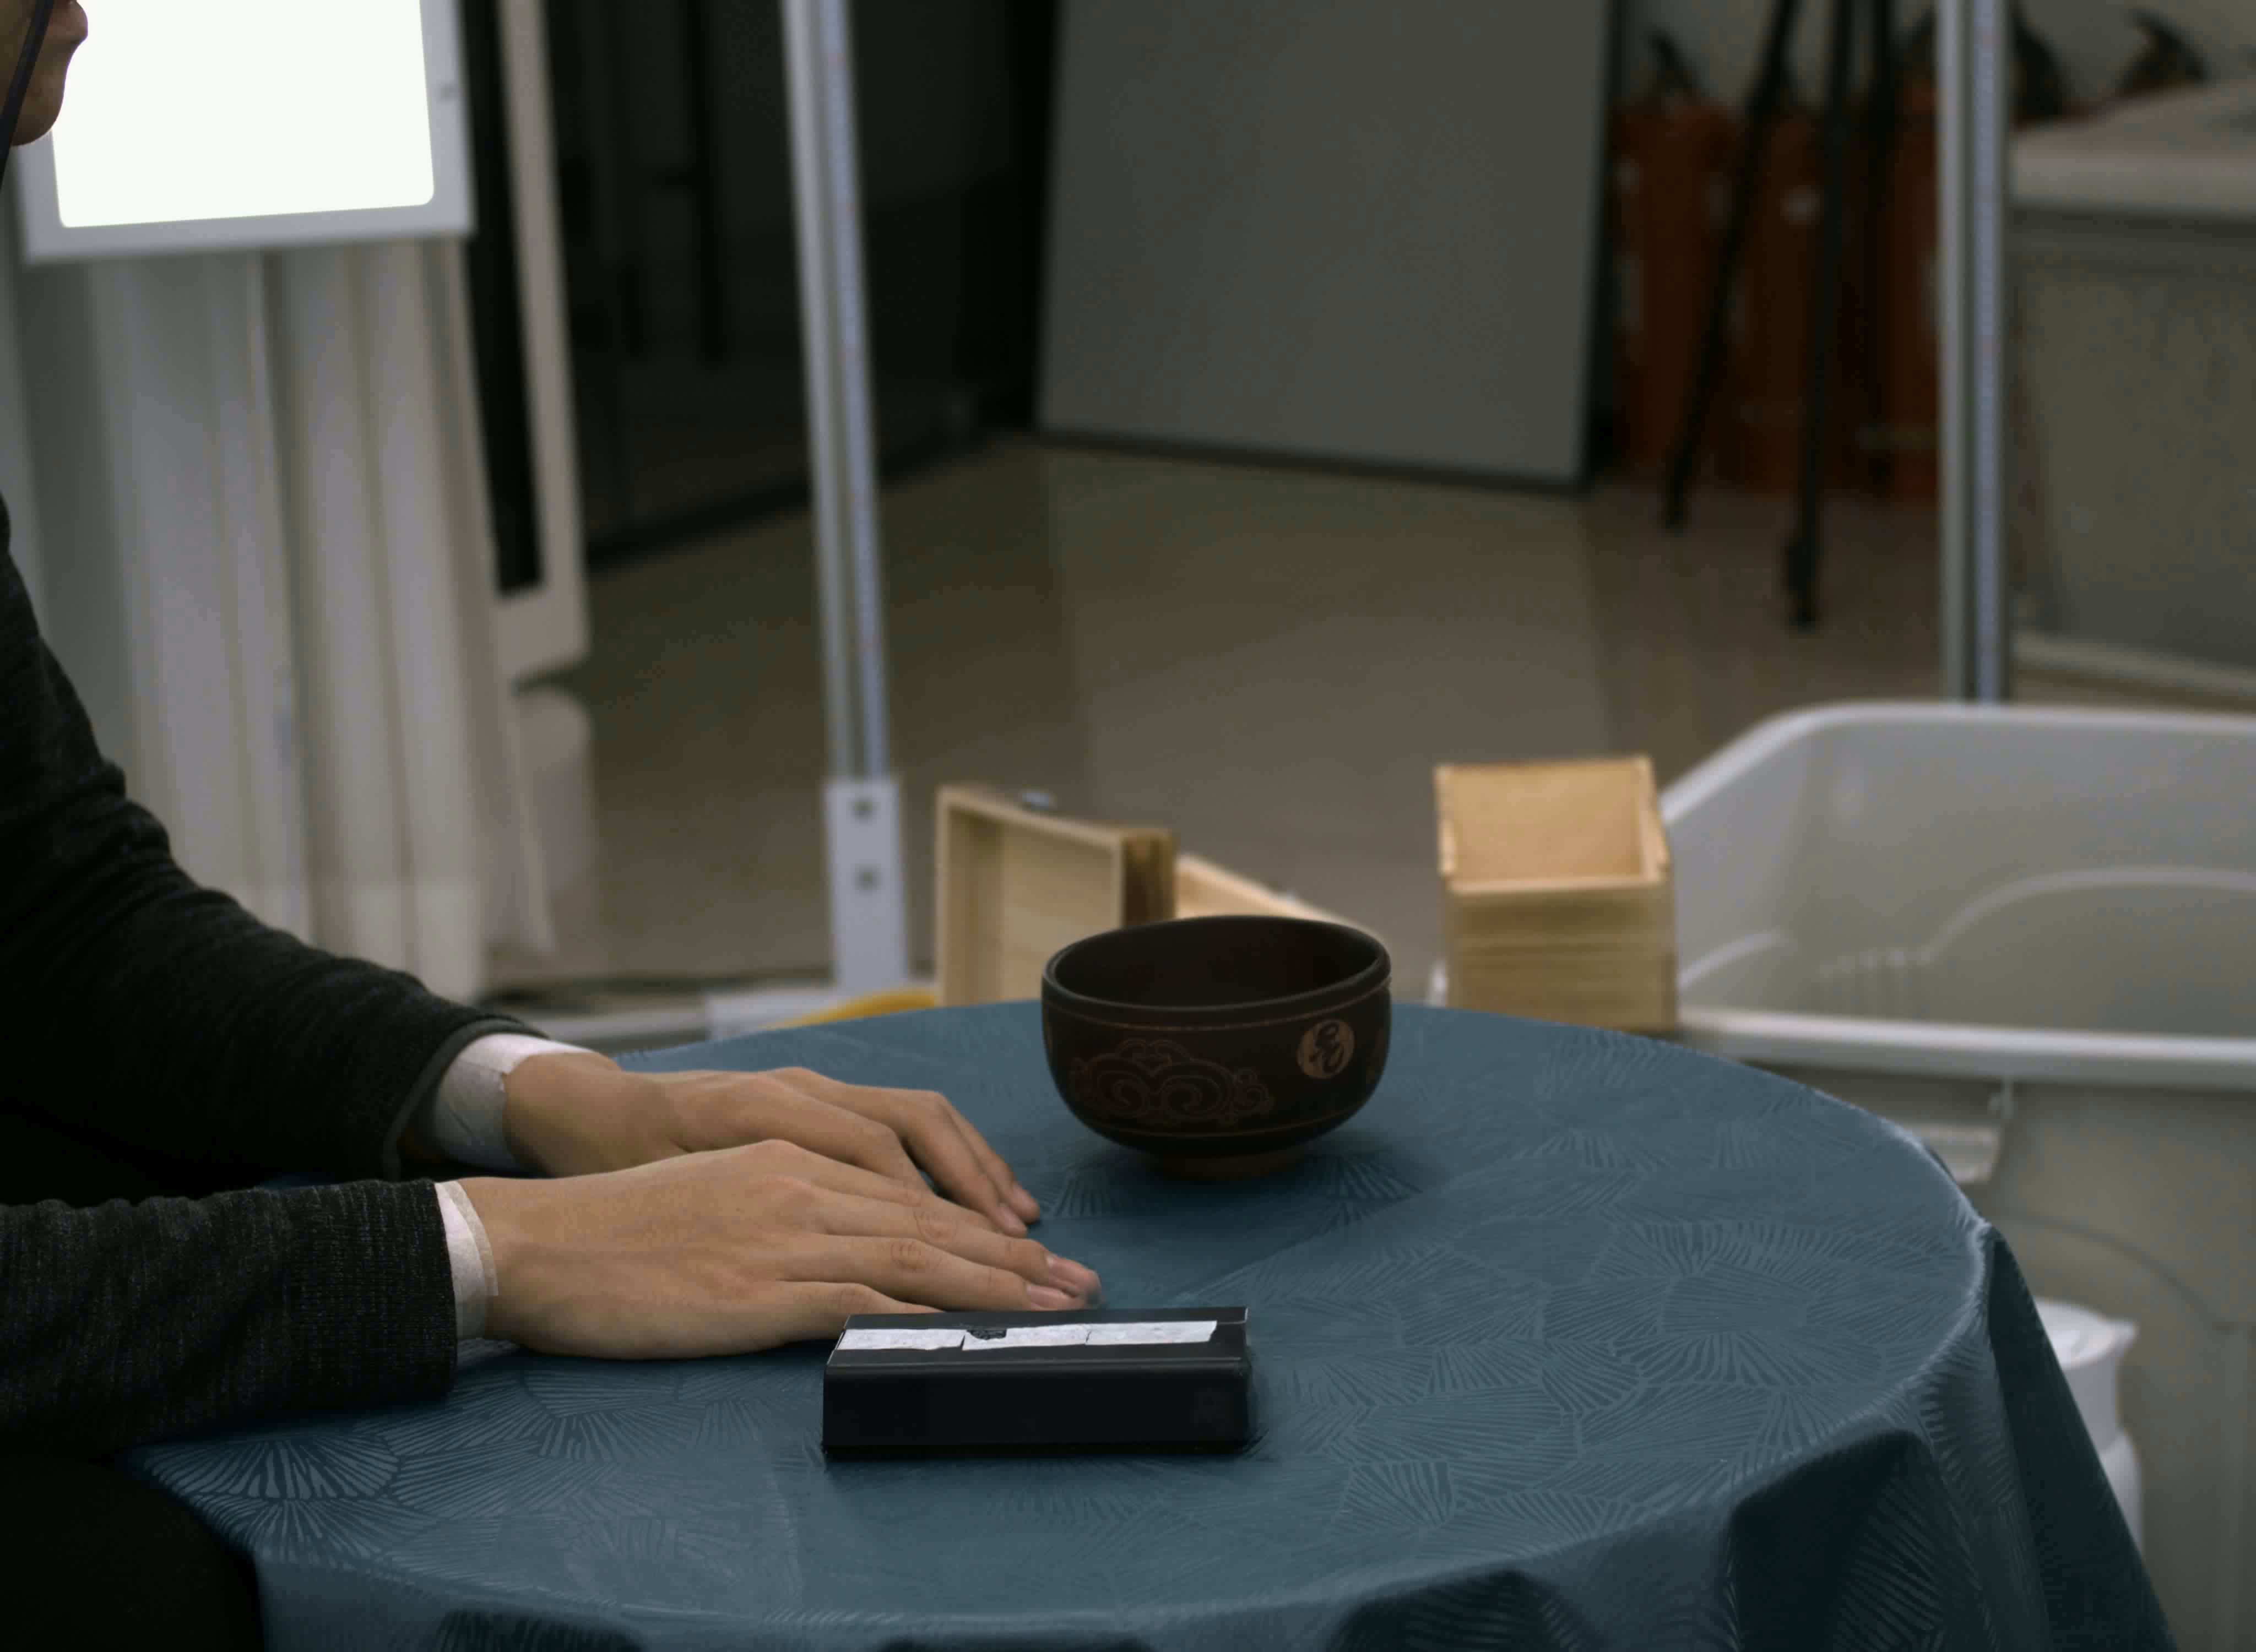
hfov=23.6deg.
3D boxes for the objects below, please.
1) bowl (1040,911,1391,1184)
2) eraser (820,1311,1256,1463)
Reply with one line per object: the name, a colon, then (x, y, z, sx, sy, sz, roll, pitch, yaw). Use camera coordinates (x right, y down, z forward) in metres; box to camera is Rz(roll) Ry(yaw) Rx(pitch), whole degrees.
bowl: (0.030, 0.077, 1.791, 0.116, 0.070, 0.118, -4, 16, 0)
eraser: (-0.024, 0.161, 1.554, 0.124, 0.031, 0.053, -3, 11, 7)
